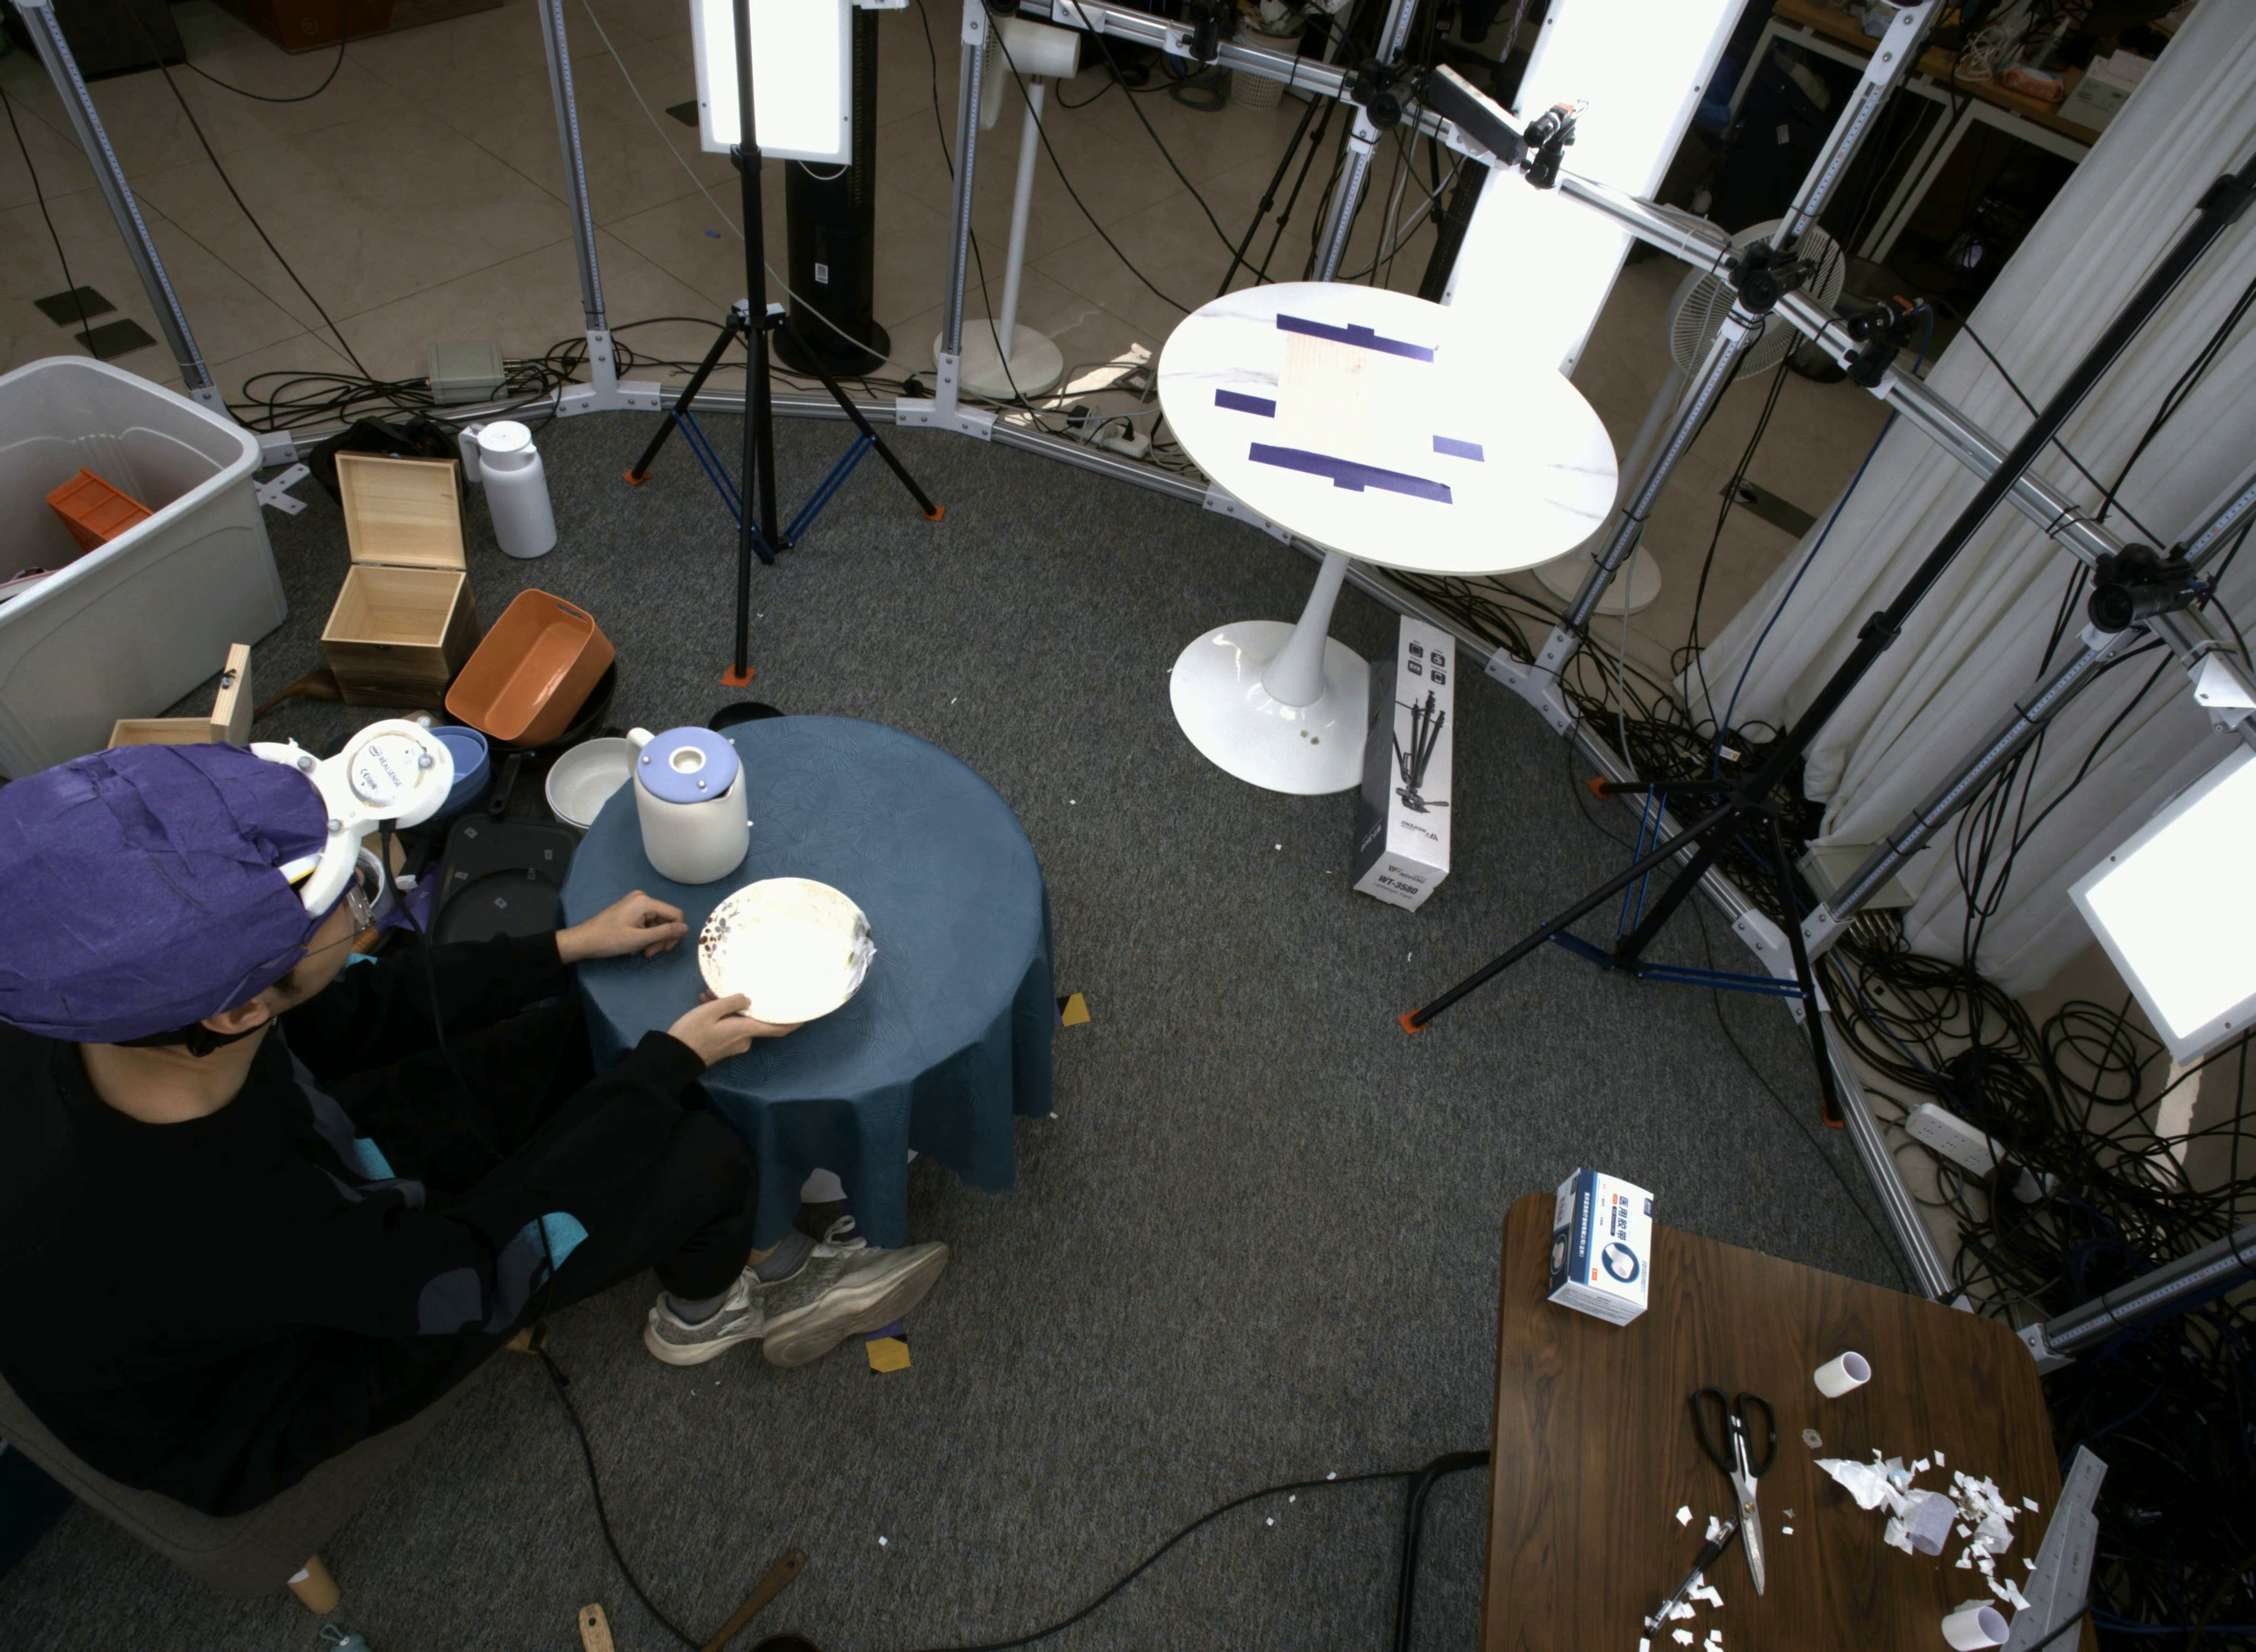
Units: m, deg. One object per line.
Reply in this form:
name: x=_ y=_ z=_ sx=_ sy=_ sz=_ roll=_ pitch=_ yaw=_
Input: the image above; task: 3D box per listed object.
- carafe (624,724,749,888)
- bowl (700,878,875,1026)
carafe: x=-0.563 y=-0.039 z=1.612 sx=0.187 sy=0.187 sz=0.132 roll=33 pitch=52 yaw=15
bowl: x=-0.407 y=0.166 z=1.564 sx=0.203 sy=0.079 sz=0.200 roll=6 pitch=54 yaw=-7
